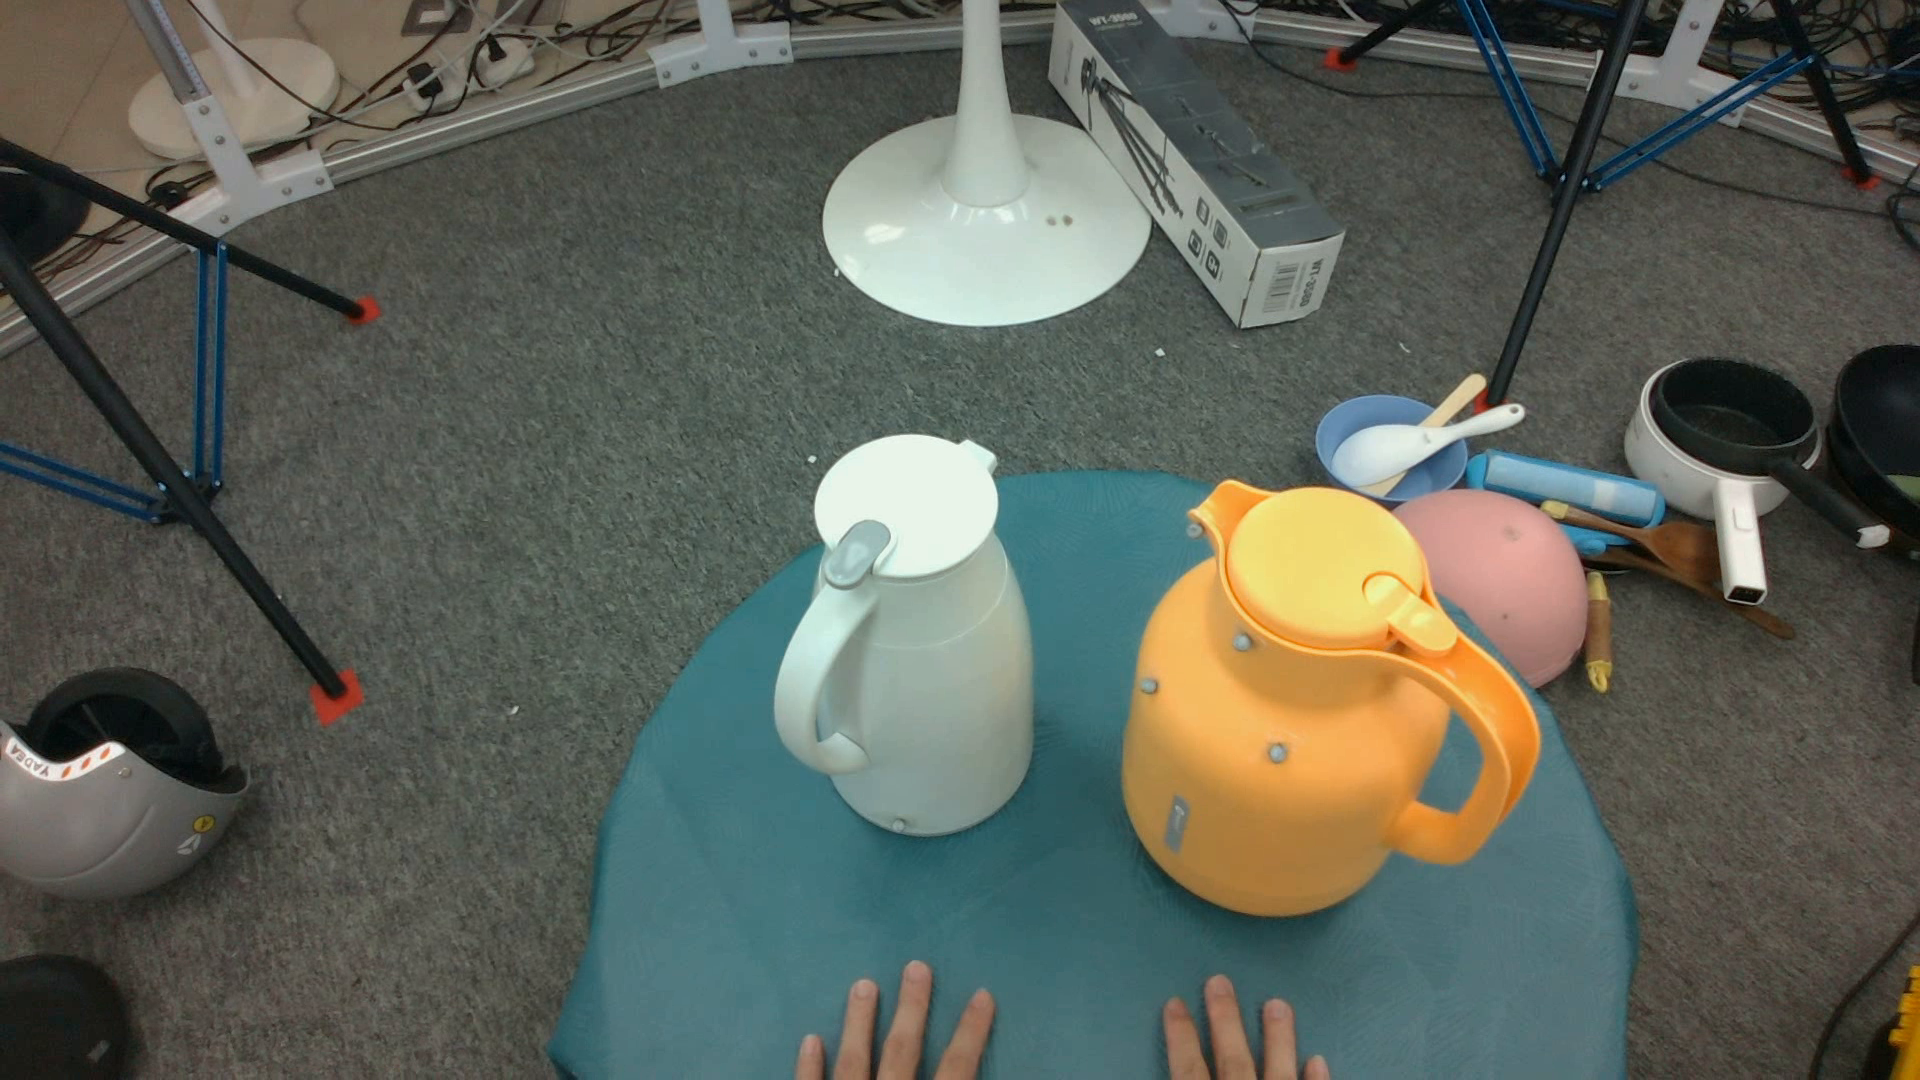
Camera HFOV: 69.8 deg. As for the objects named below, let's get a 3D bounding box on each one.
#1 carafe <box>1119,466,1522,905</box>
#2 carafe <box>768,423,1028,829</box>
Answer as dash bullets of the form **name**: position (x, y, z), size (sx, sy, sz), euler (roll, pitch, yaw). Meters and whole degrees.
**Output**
- **carafe**: position (0.182, 0.088, 0.726), size (0.164, 0.259, 0.202), euler (-38, 59, -22)
- **carafe**: position (-0.038, 0.060, 0.760), size (0.132, 0.247, 0.168), euler (29, 59, 22)
